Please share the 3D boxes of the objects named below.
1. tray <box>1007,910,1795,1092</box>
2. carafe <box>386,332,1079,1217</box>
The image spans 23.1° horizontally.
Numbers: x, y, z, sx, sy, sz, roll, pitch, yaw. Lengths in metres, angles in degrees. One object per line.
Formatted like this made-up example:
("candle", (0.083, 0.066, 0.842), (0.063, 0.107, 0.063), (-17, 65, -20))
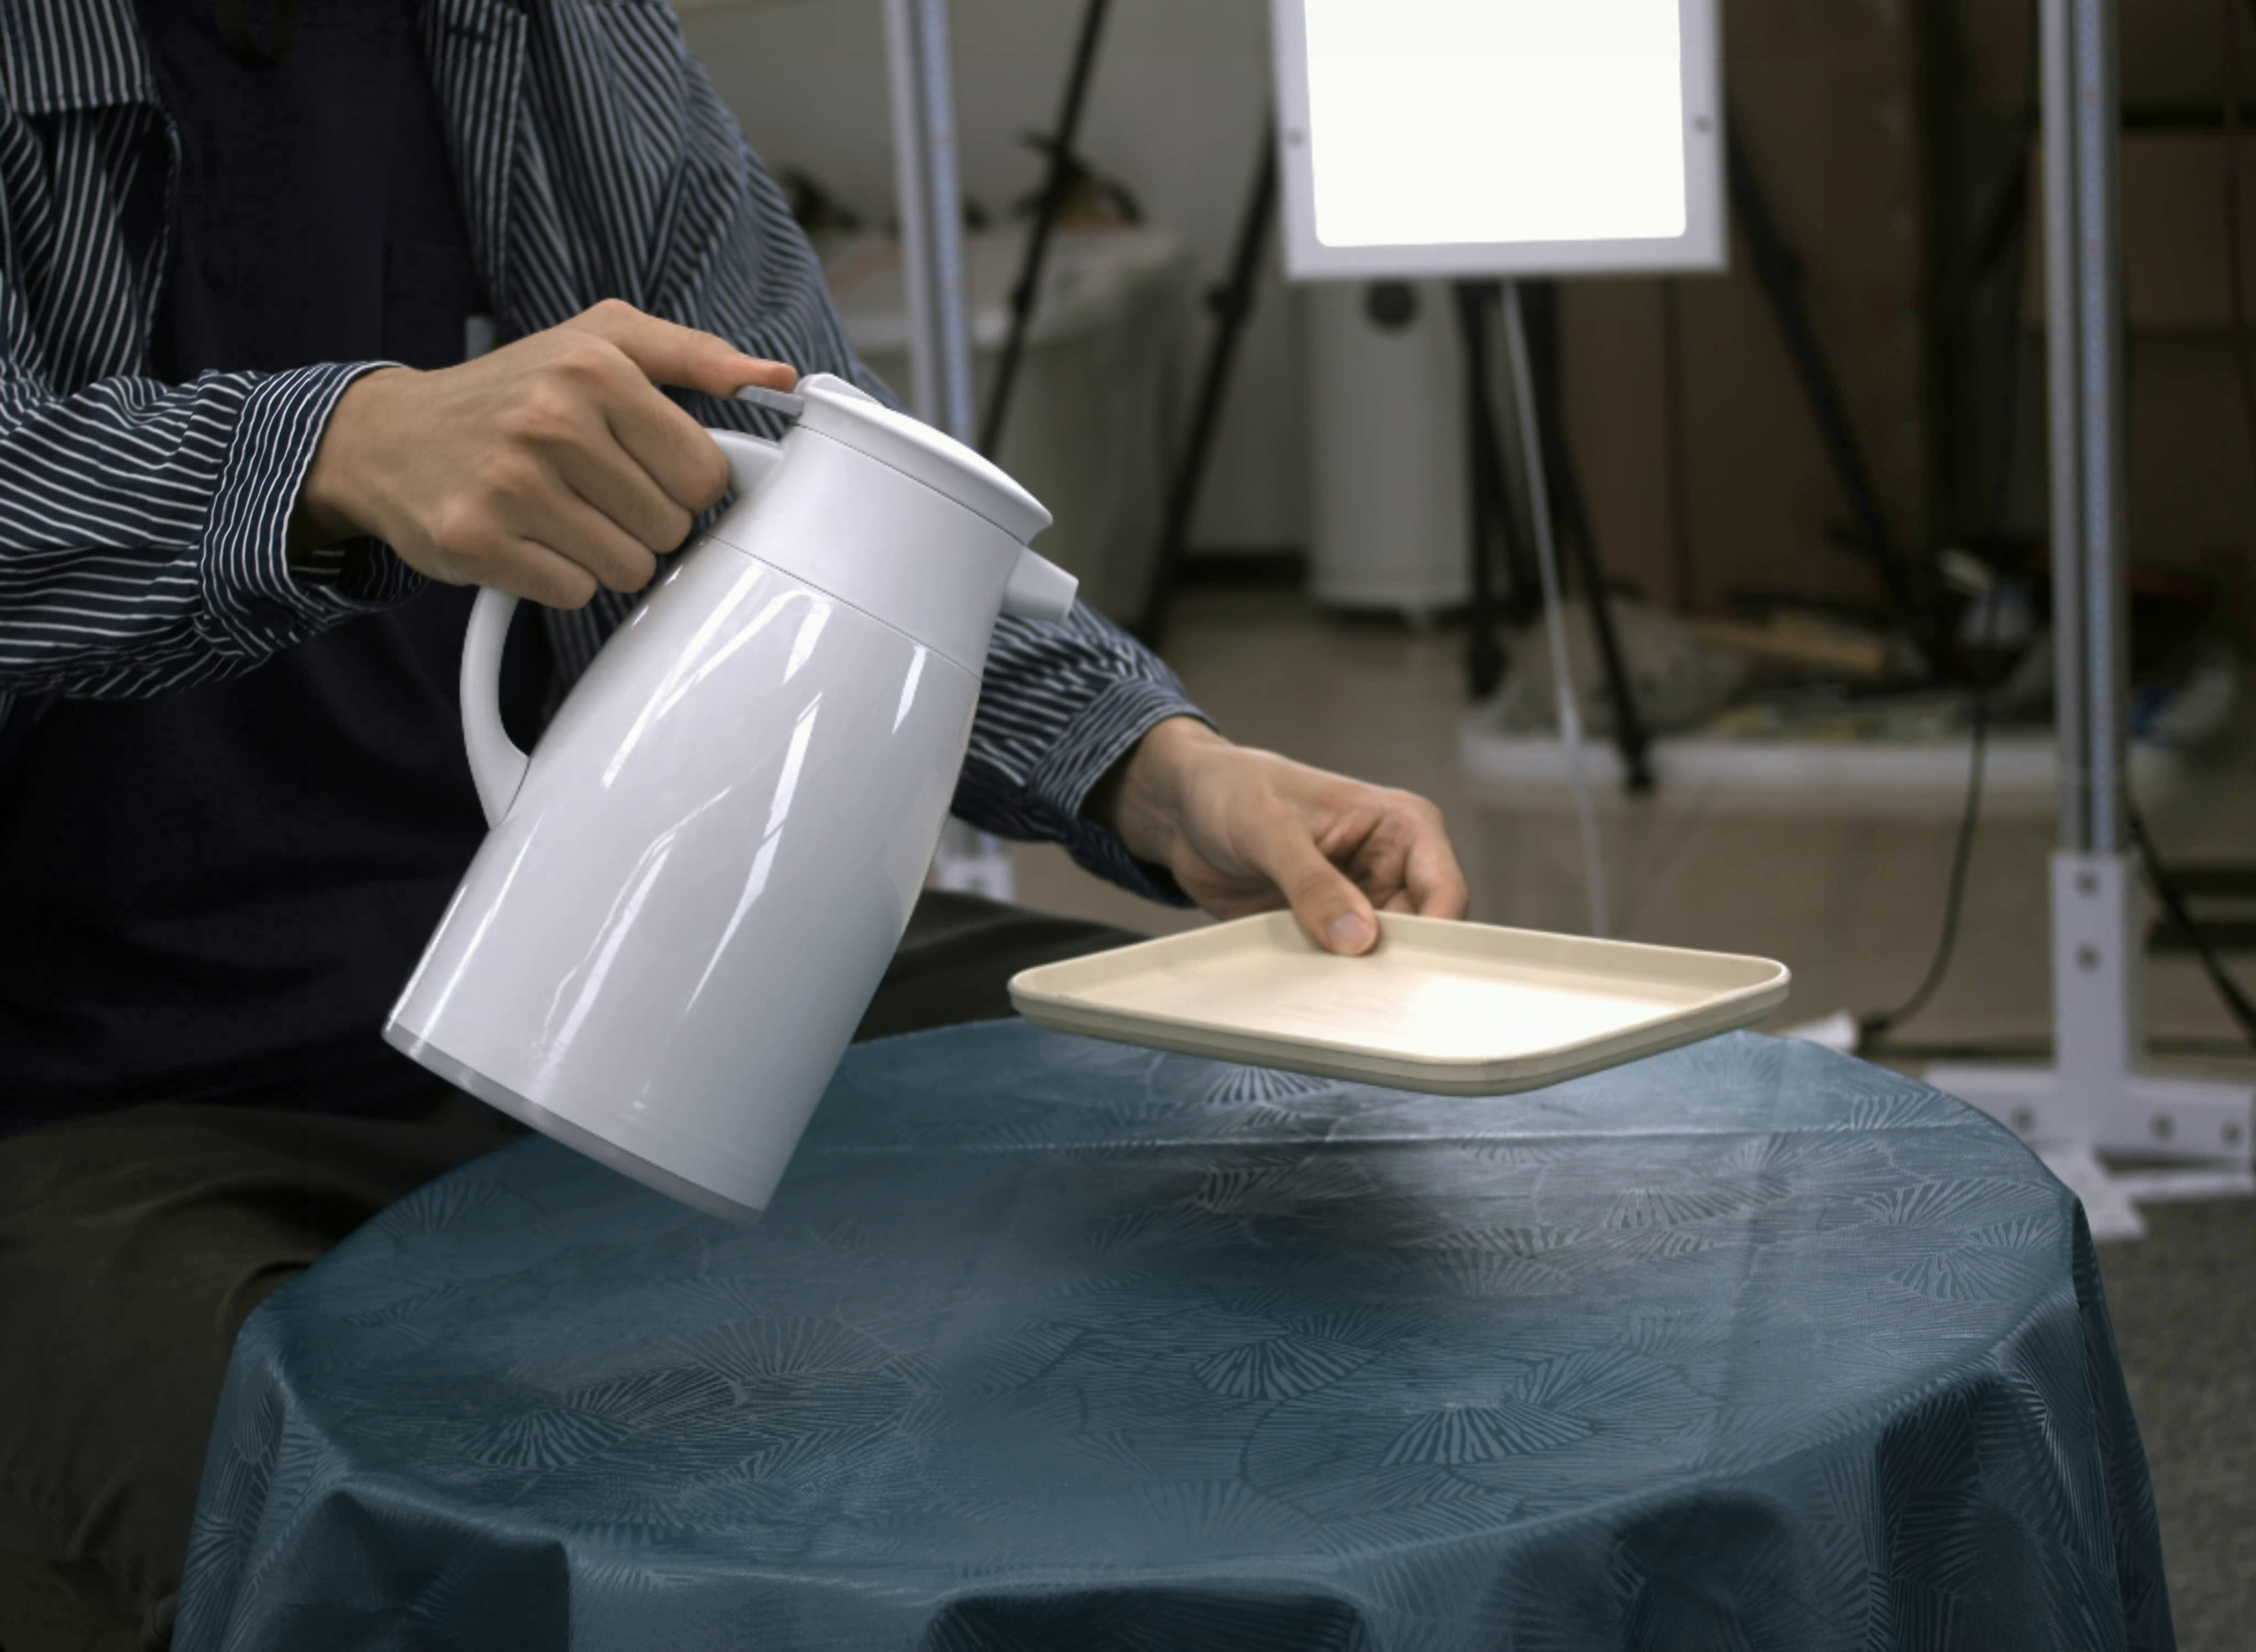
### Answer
("tray", (0.090, 0.058, 1.834), (0.167, 0.017, 0.245), (-12, 12, -42))
("carafe", (-0.132, -0.026, 1.709), (0.166, 0.249, 0.133), (27, 0, -14))
